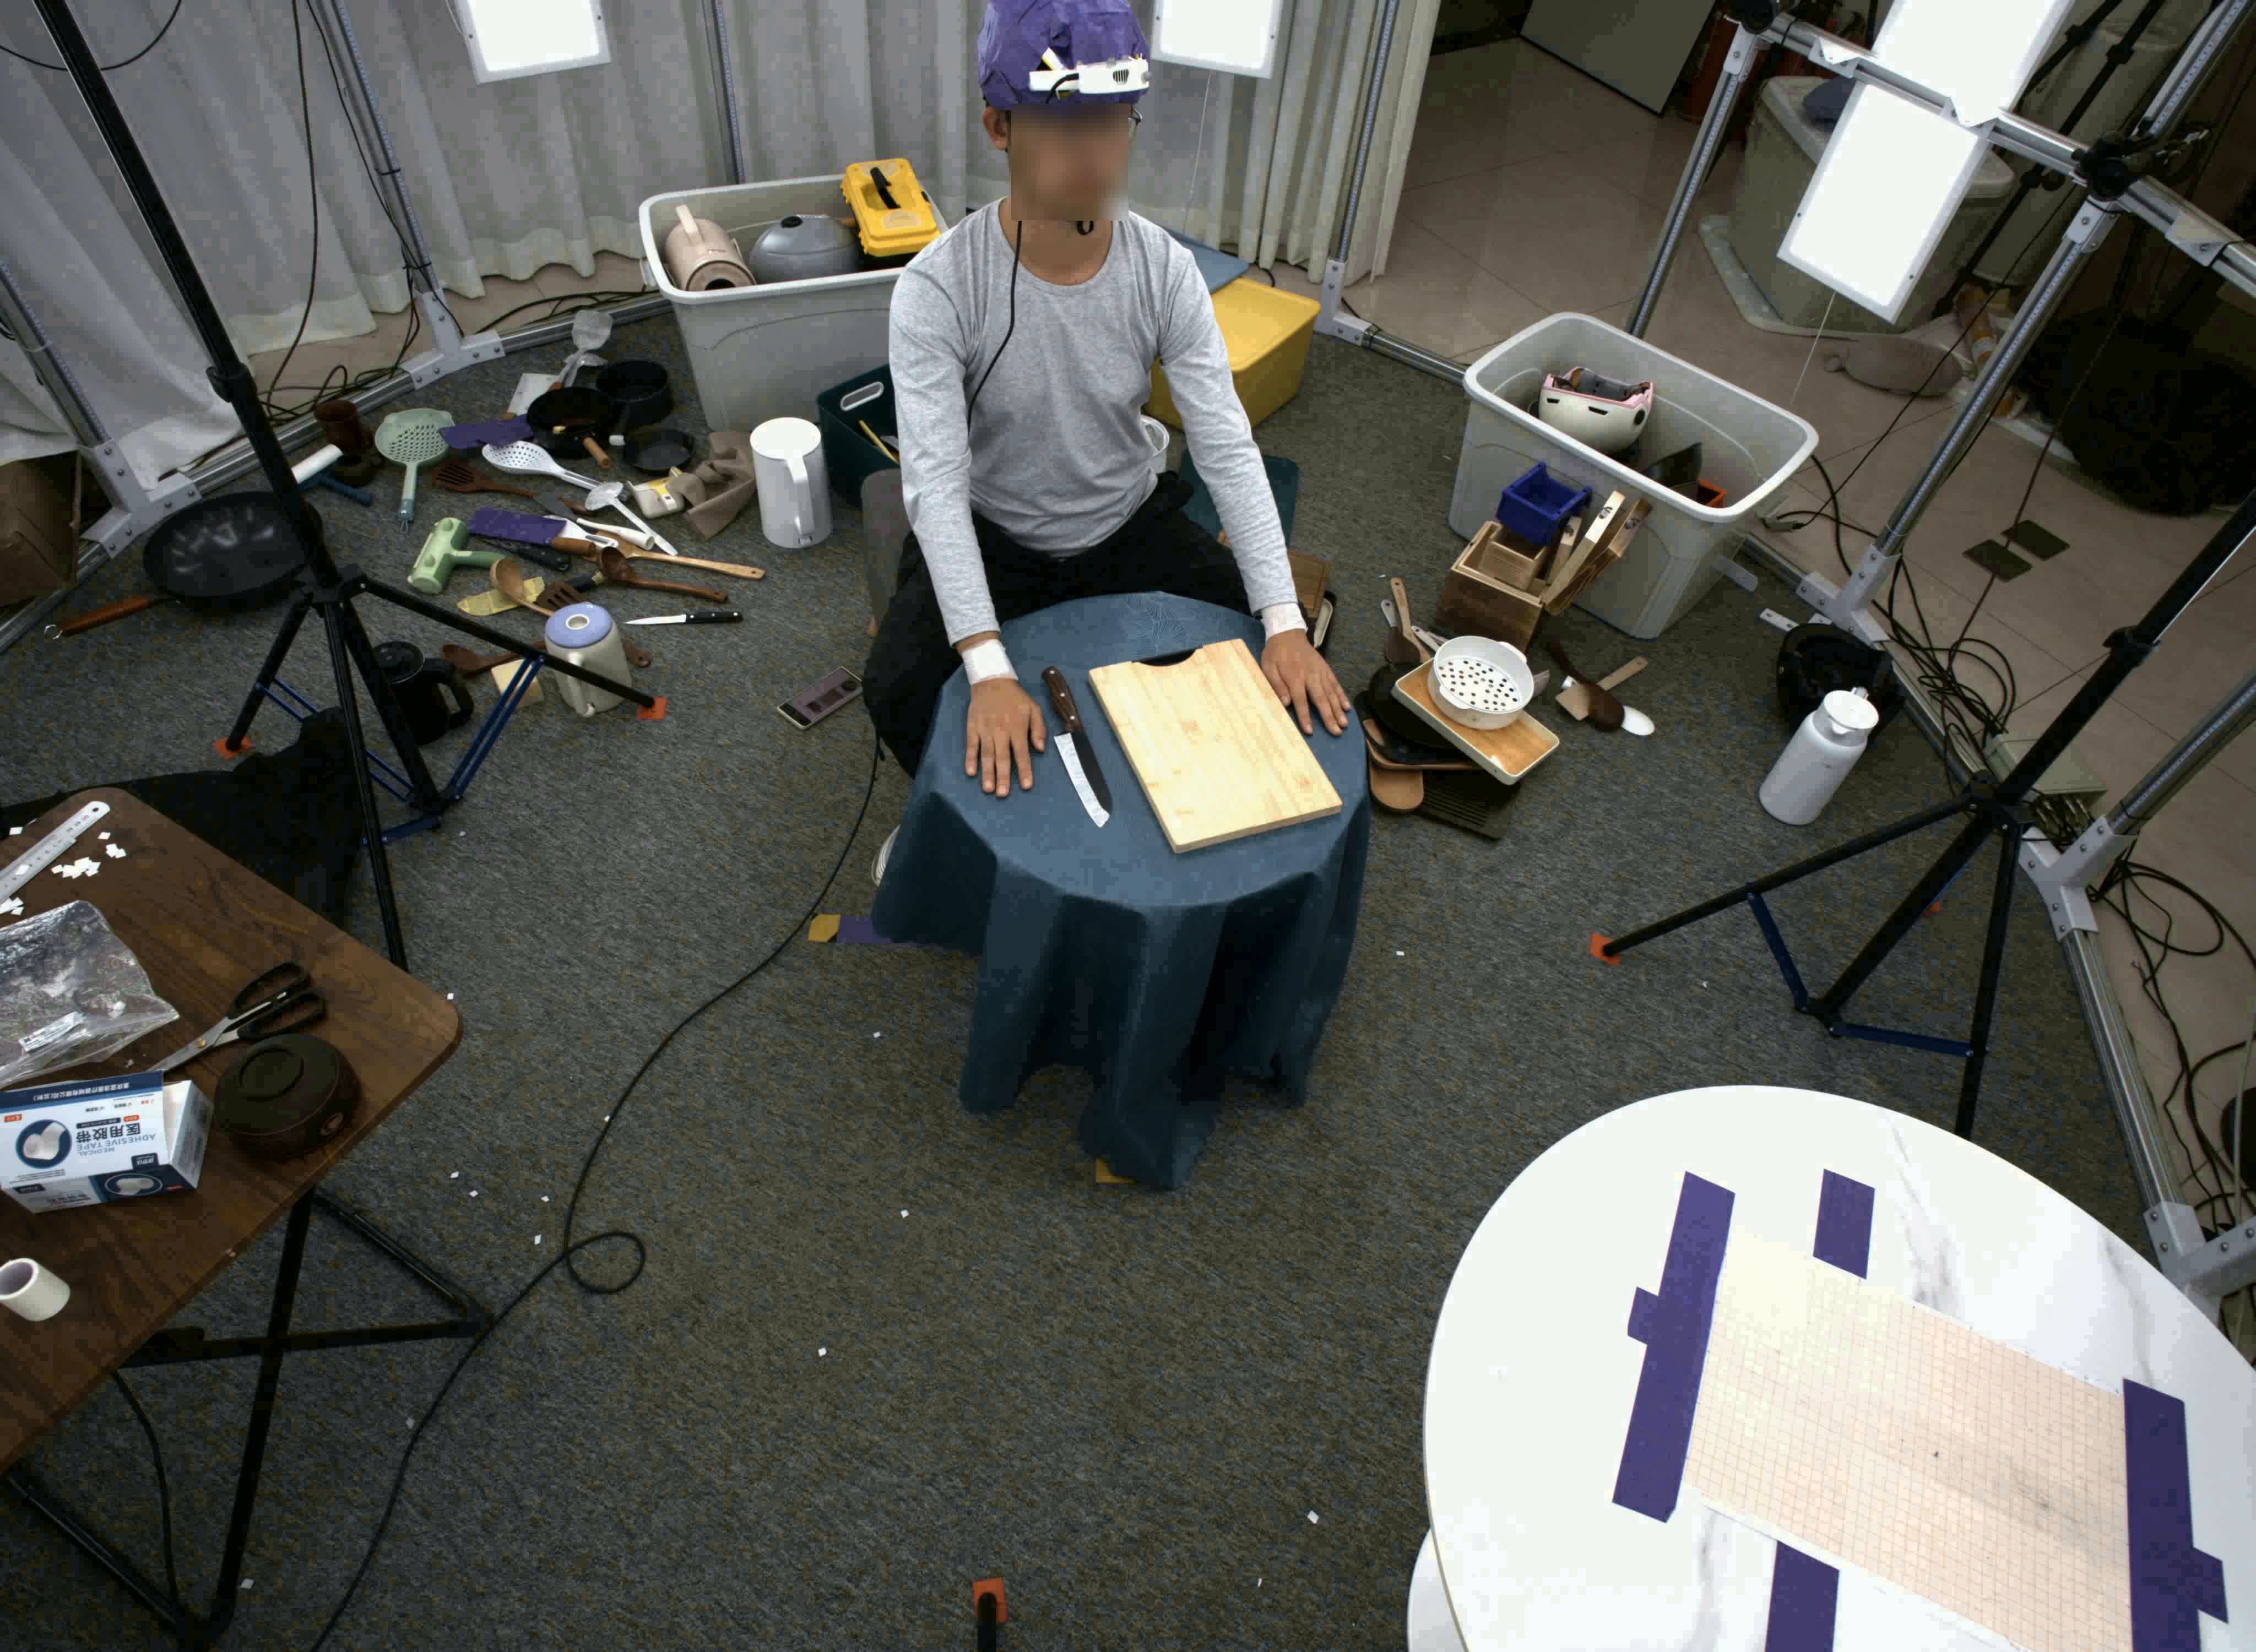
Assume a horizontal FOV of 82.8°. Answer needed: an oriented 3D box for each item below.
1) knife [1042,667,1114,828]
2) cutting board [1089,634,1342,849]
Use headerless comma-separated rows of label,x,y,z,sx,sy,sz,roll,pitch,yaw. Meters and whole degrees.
knife,-0.071,-0.110,1.749,0.050,0.019,0.296,-13,53,-9
cutting board,0.113,-0.124,1.773,0.251,0.023,0.357,-14,51,-16
